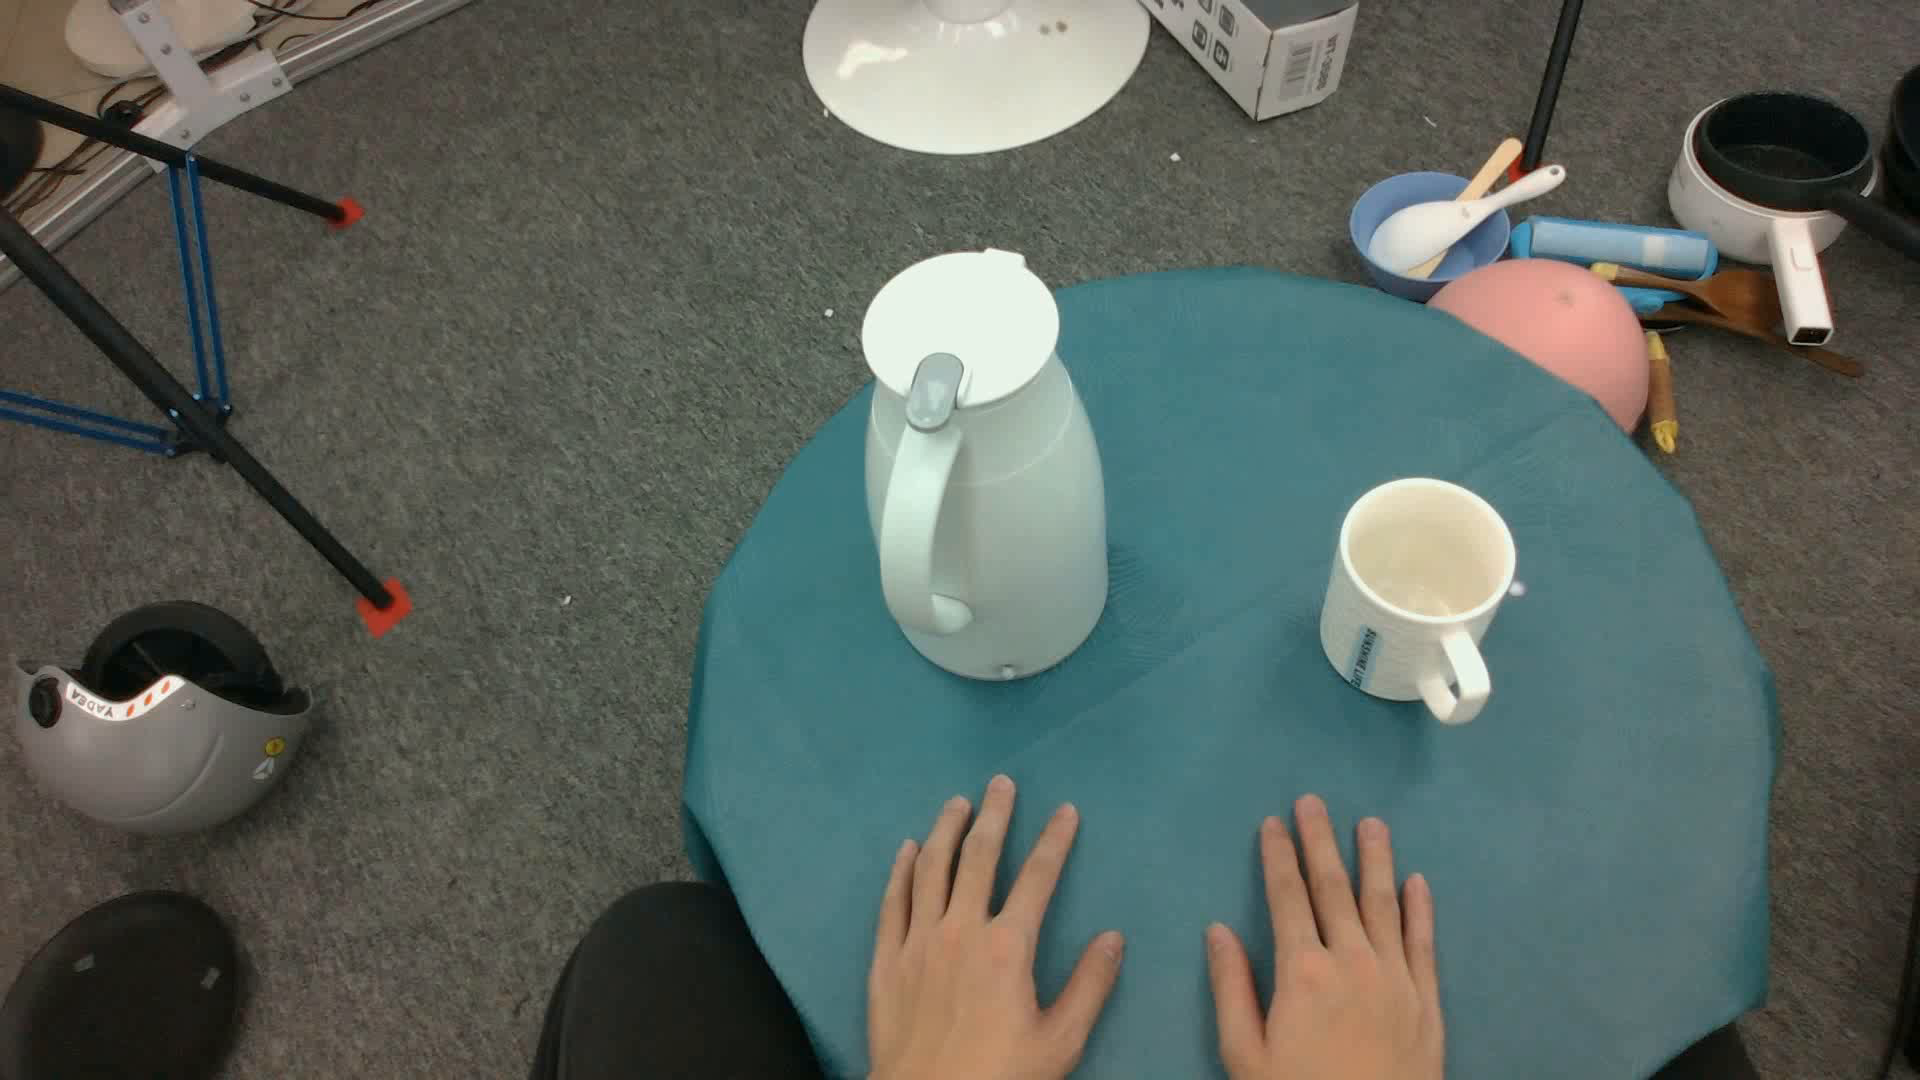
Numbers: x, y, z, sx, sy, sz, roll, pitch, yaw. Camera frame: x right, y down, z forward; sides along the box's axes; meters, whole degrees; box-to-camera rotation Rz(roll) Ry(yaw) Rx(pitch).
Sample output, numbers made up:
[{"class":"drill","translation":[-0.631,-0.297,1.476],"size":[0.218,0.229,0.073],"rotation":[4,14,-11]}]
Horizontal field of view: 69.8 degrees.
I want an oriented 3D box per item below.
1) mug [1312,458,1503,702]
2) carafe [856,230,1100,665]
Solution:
[{"class":"mug","translation":[0.243,0.032,0.741],"size":[0.085,0.101,0.118],"rotation":[-15,58,-3]},{"class":"carafe","translation":[0.003,-0.030,0.719],"size":[0.132,0.247,0.168],"rotation":[13,61,13]}]
